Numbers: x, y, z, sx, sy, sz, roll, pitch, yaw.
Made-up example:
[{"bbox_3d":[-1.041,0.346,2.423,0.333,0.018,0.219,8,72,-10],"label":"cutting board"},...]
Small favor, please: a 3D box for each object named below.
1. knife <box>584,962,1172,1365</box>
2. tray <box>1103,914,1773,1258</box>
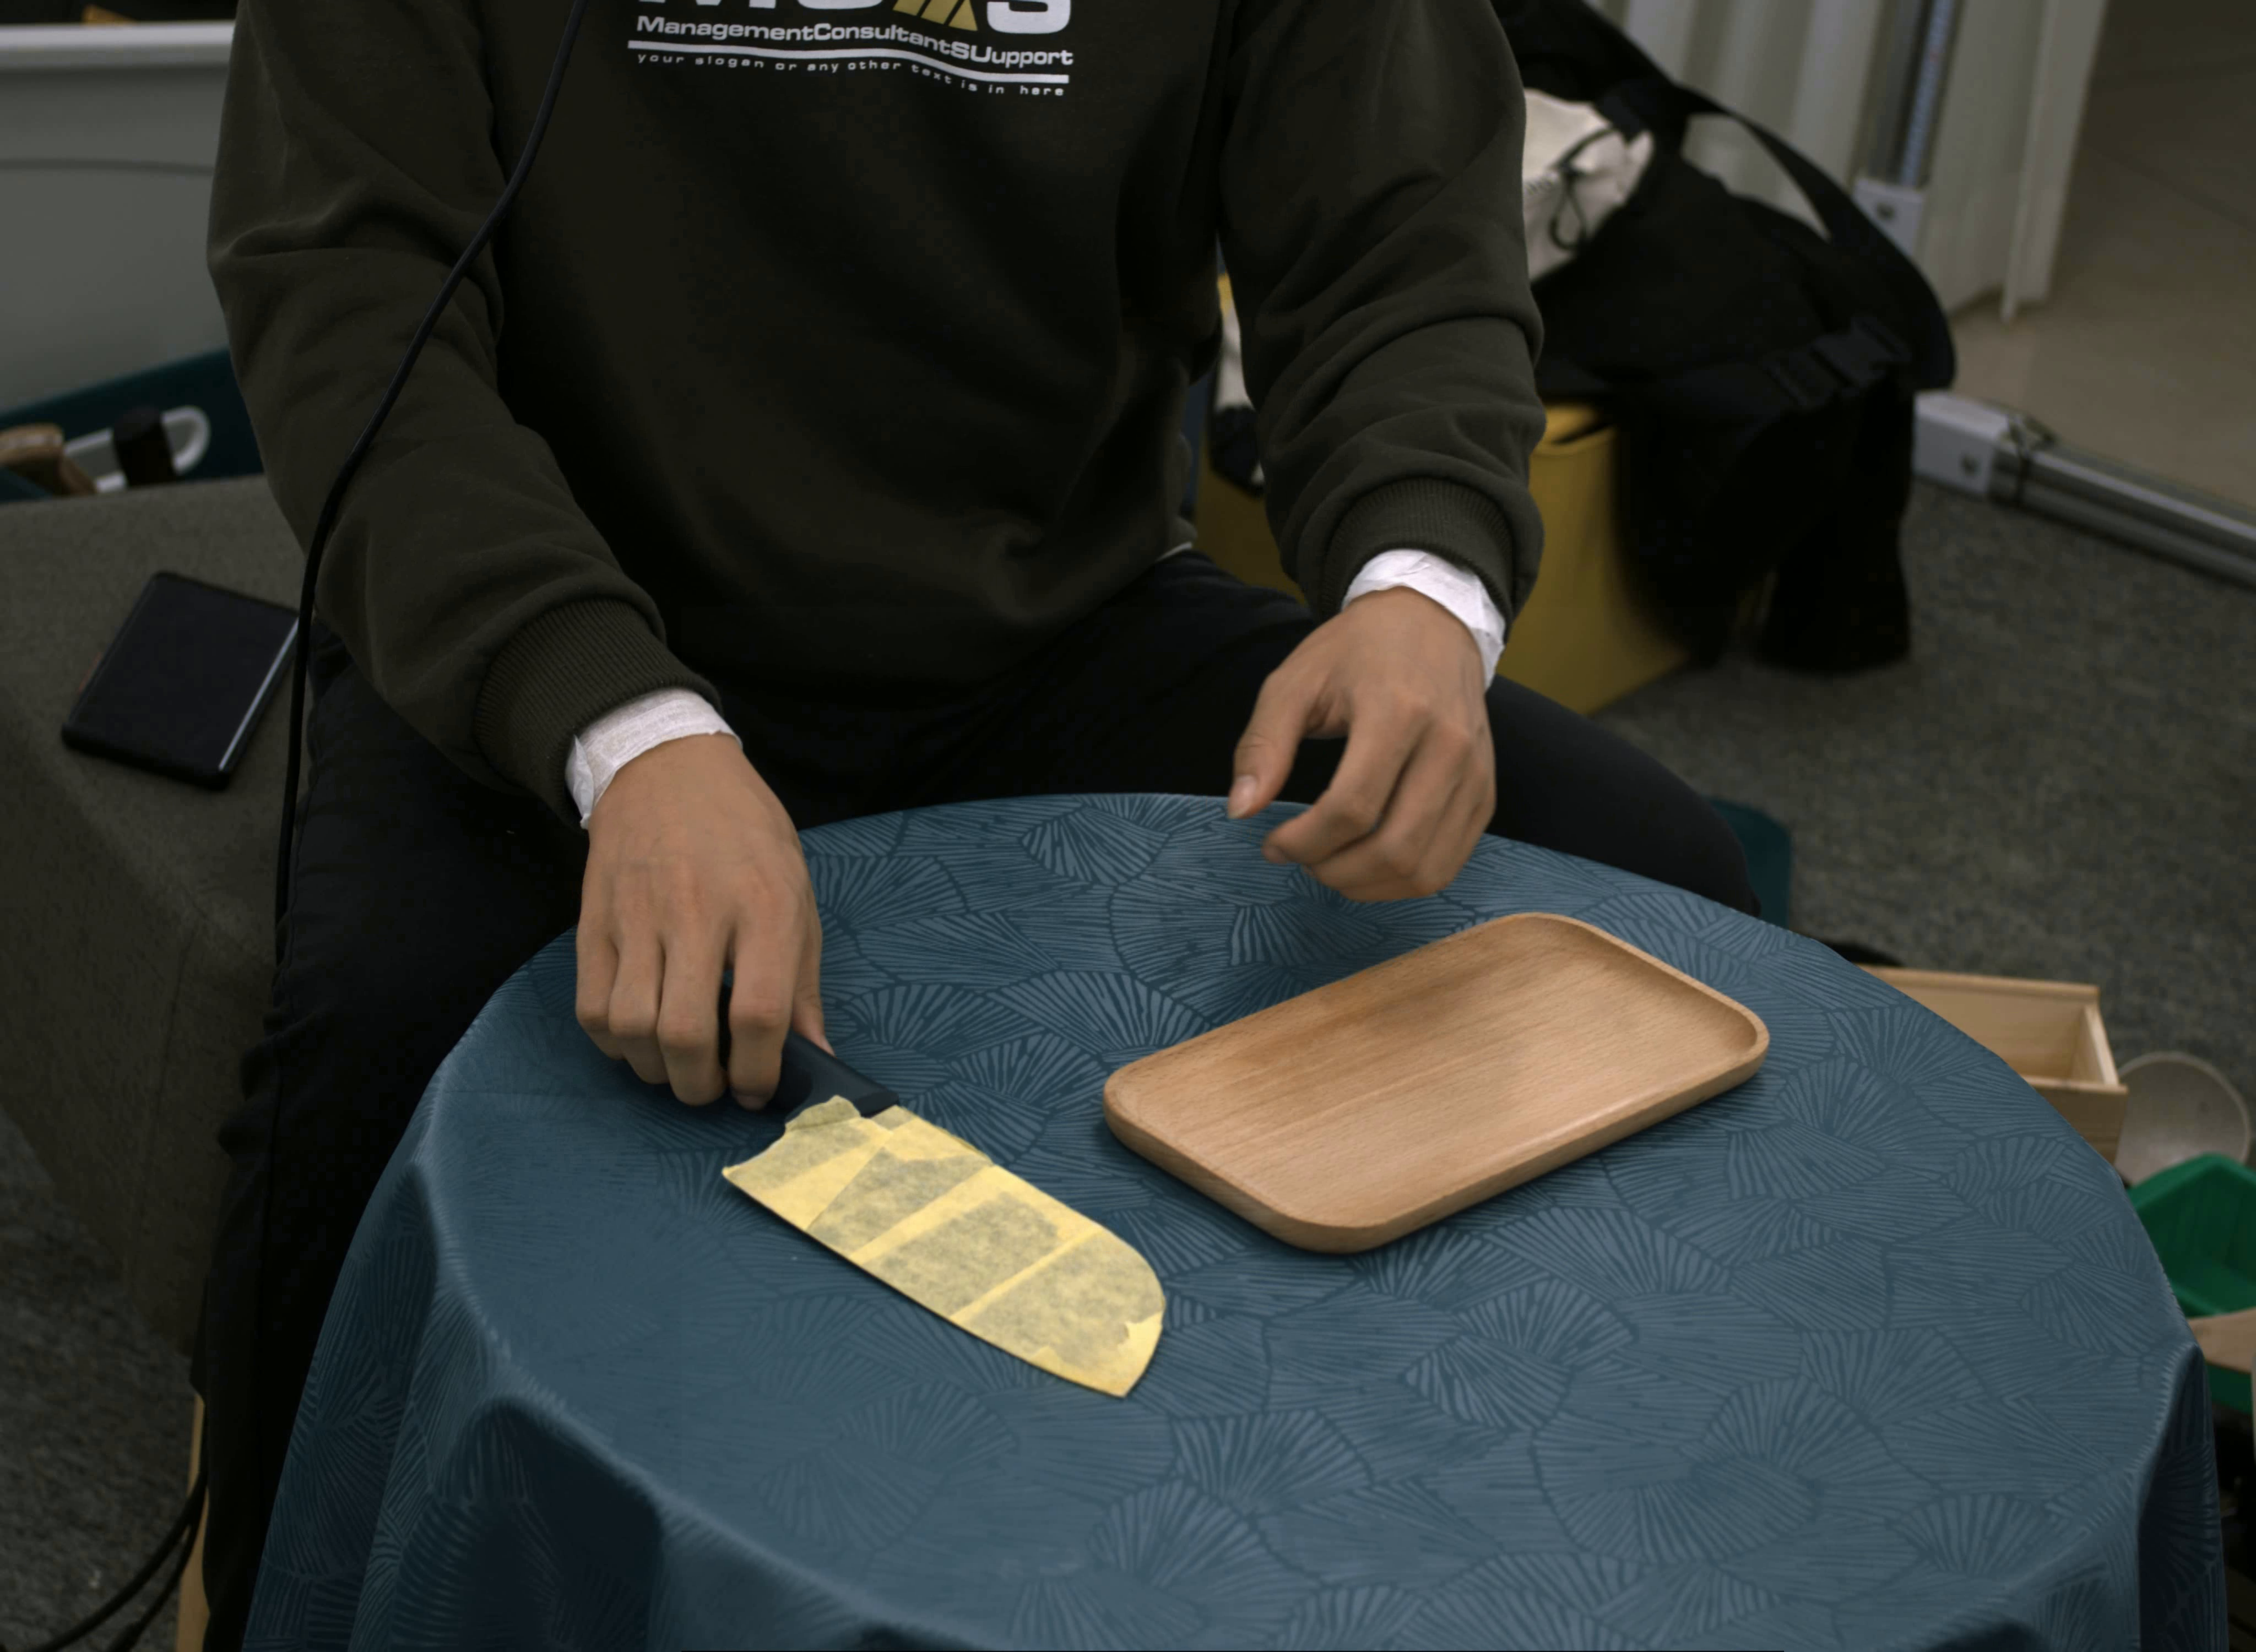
[{"bbox_3d":[-0.093,0.114,1.788,0.080,0.027,0.292,-22,38,-40],"label":"knife"},{"bbox_3d":[0.112,0.090,1.880,0.249,0.023,0.131,-20,34,-41],"label":"tray"}]
